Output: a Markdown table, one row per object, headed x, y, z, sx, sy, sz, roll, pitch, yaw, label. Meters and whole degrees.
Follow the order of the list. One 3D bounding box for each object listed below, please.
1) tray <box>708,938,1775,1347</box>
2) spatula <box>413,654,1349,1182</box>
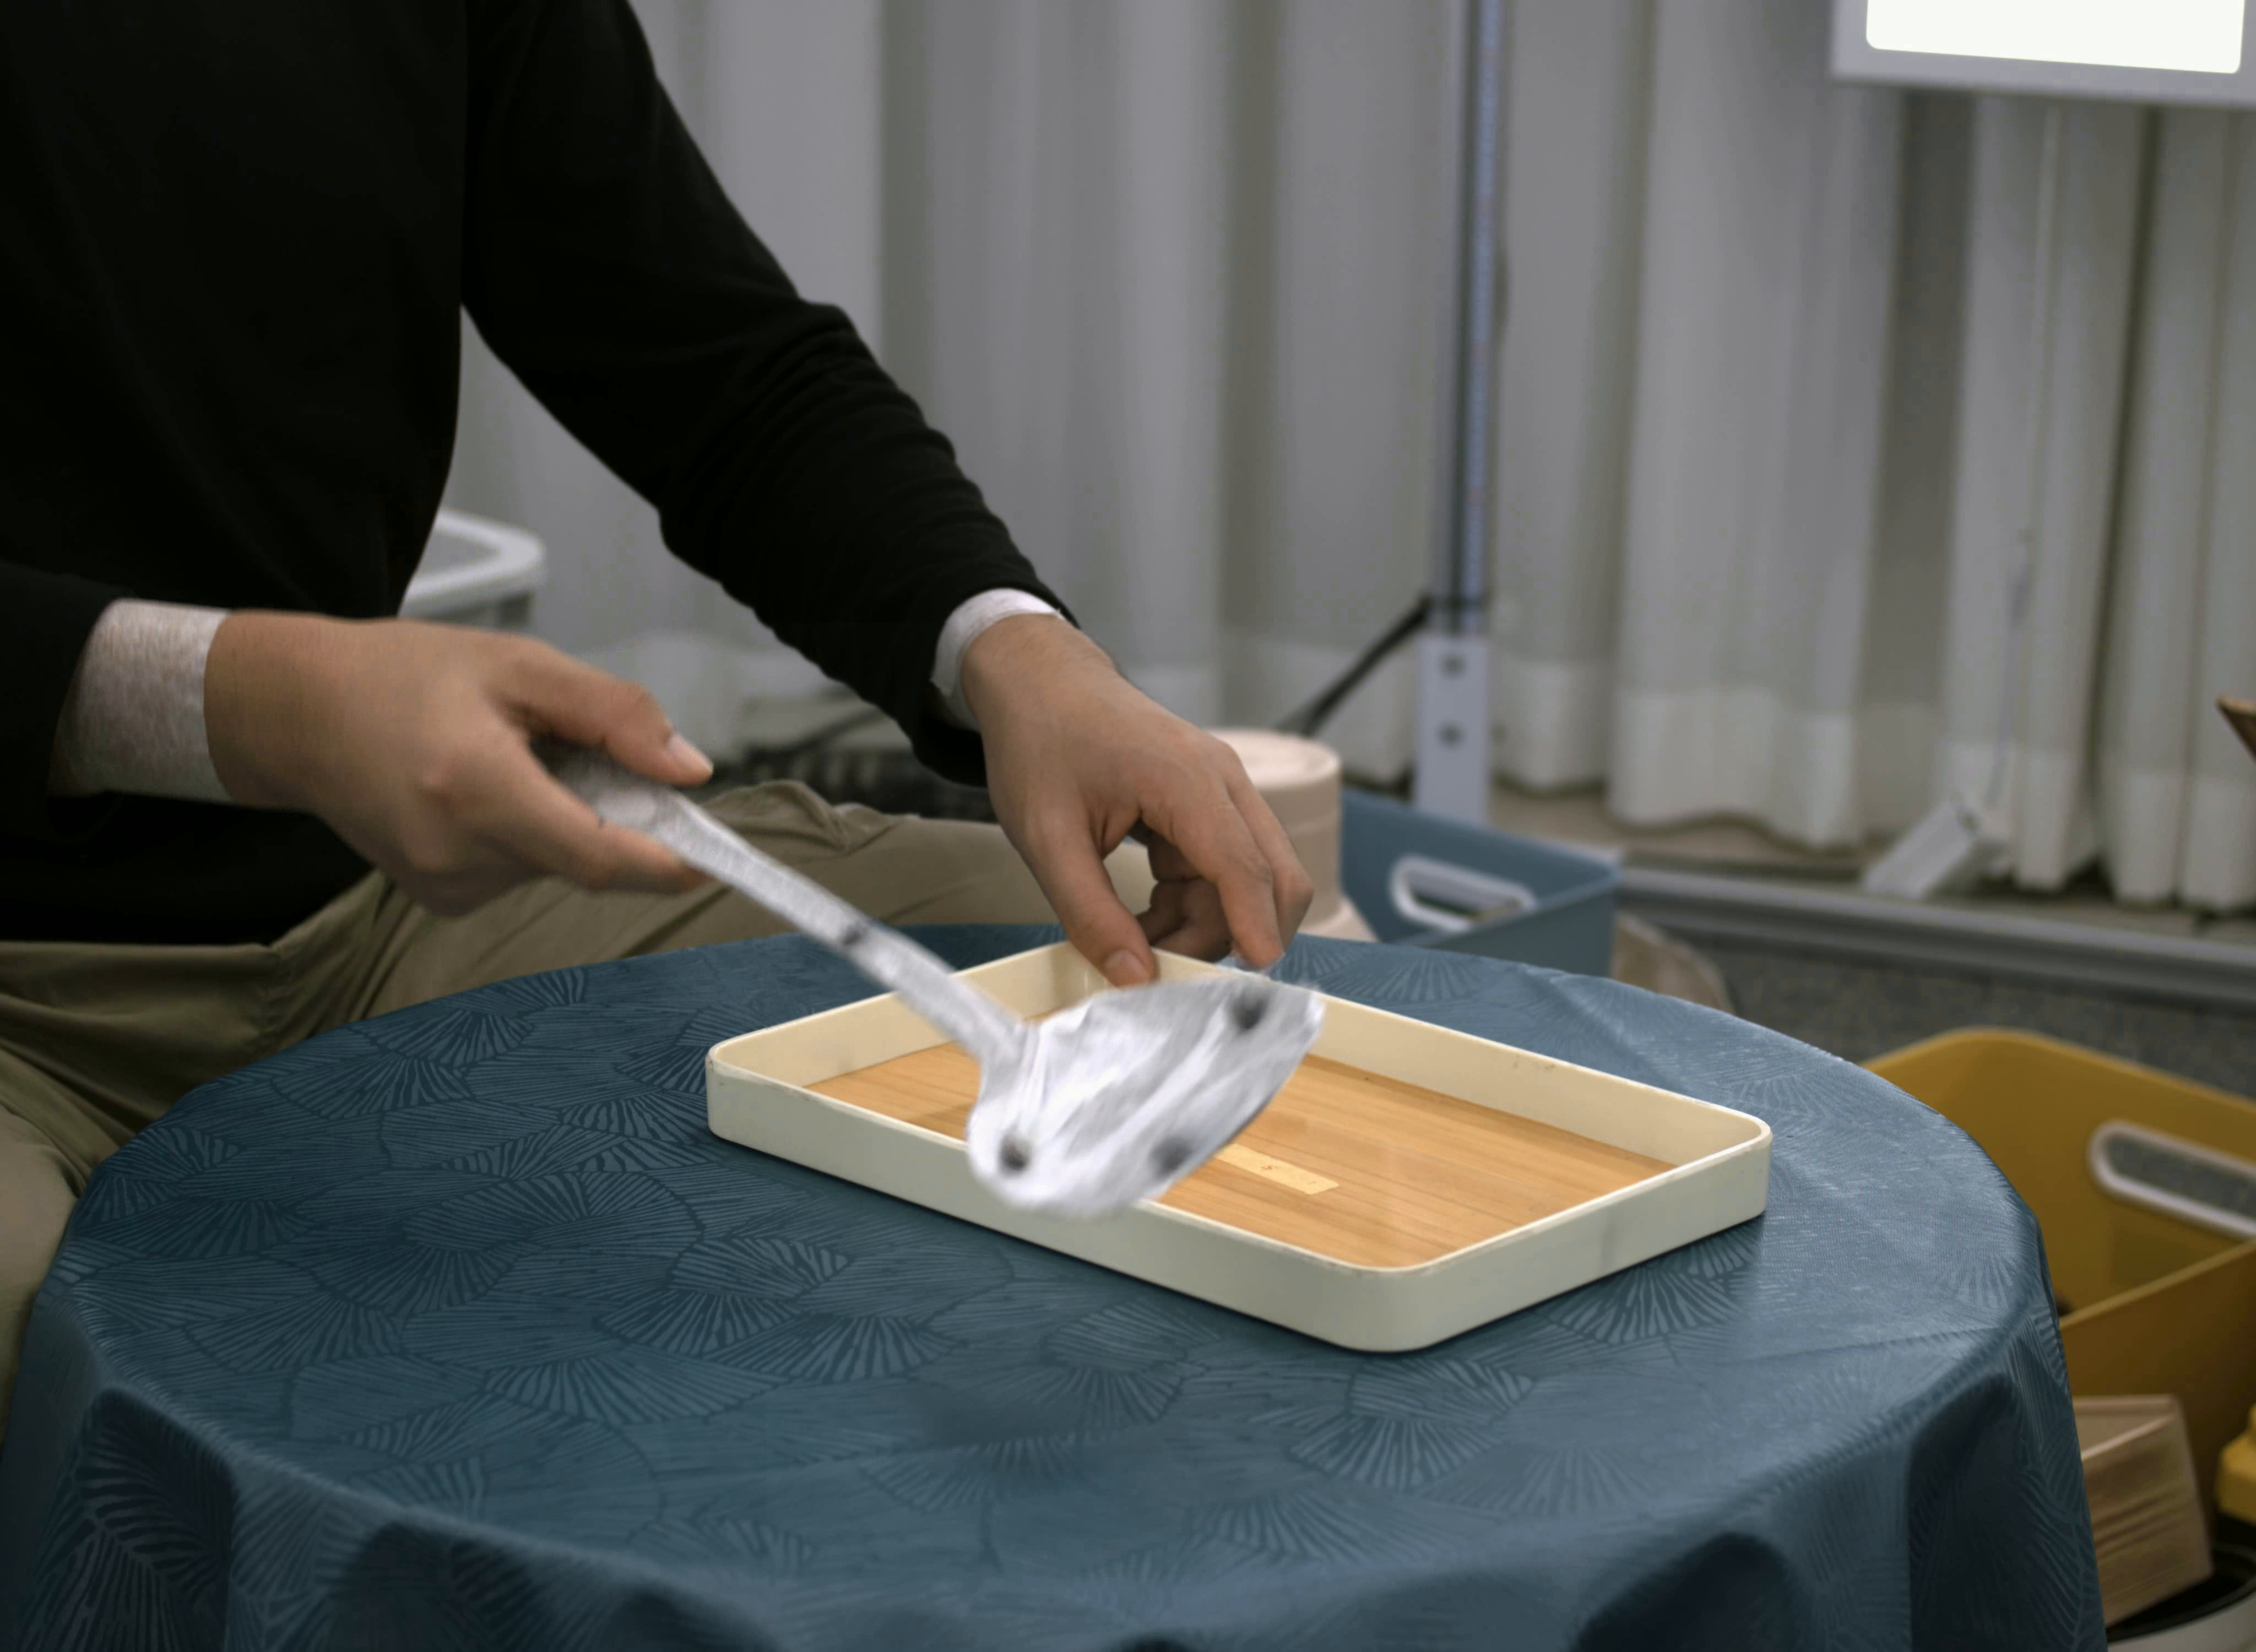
| x | y | z | sx | sy | sz | roll | pitch | yaw | label |
| --- | --- | --- | --- | --- | --- | --- | --- | --- | --- |
| 0.032 | 0.094 | 1.638 | 0.296 | 0.027 | 0.192 | 15 | 21 | 42 | tray |
| -0.092 | 0.012 | 1.504 | 0.360 | 0.045 | 0.098 | 28 | 57 | 32 | spatula |
